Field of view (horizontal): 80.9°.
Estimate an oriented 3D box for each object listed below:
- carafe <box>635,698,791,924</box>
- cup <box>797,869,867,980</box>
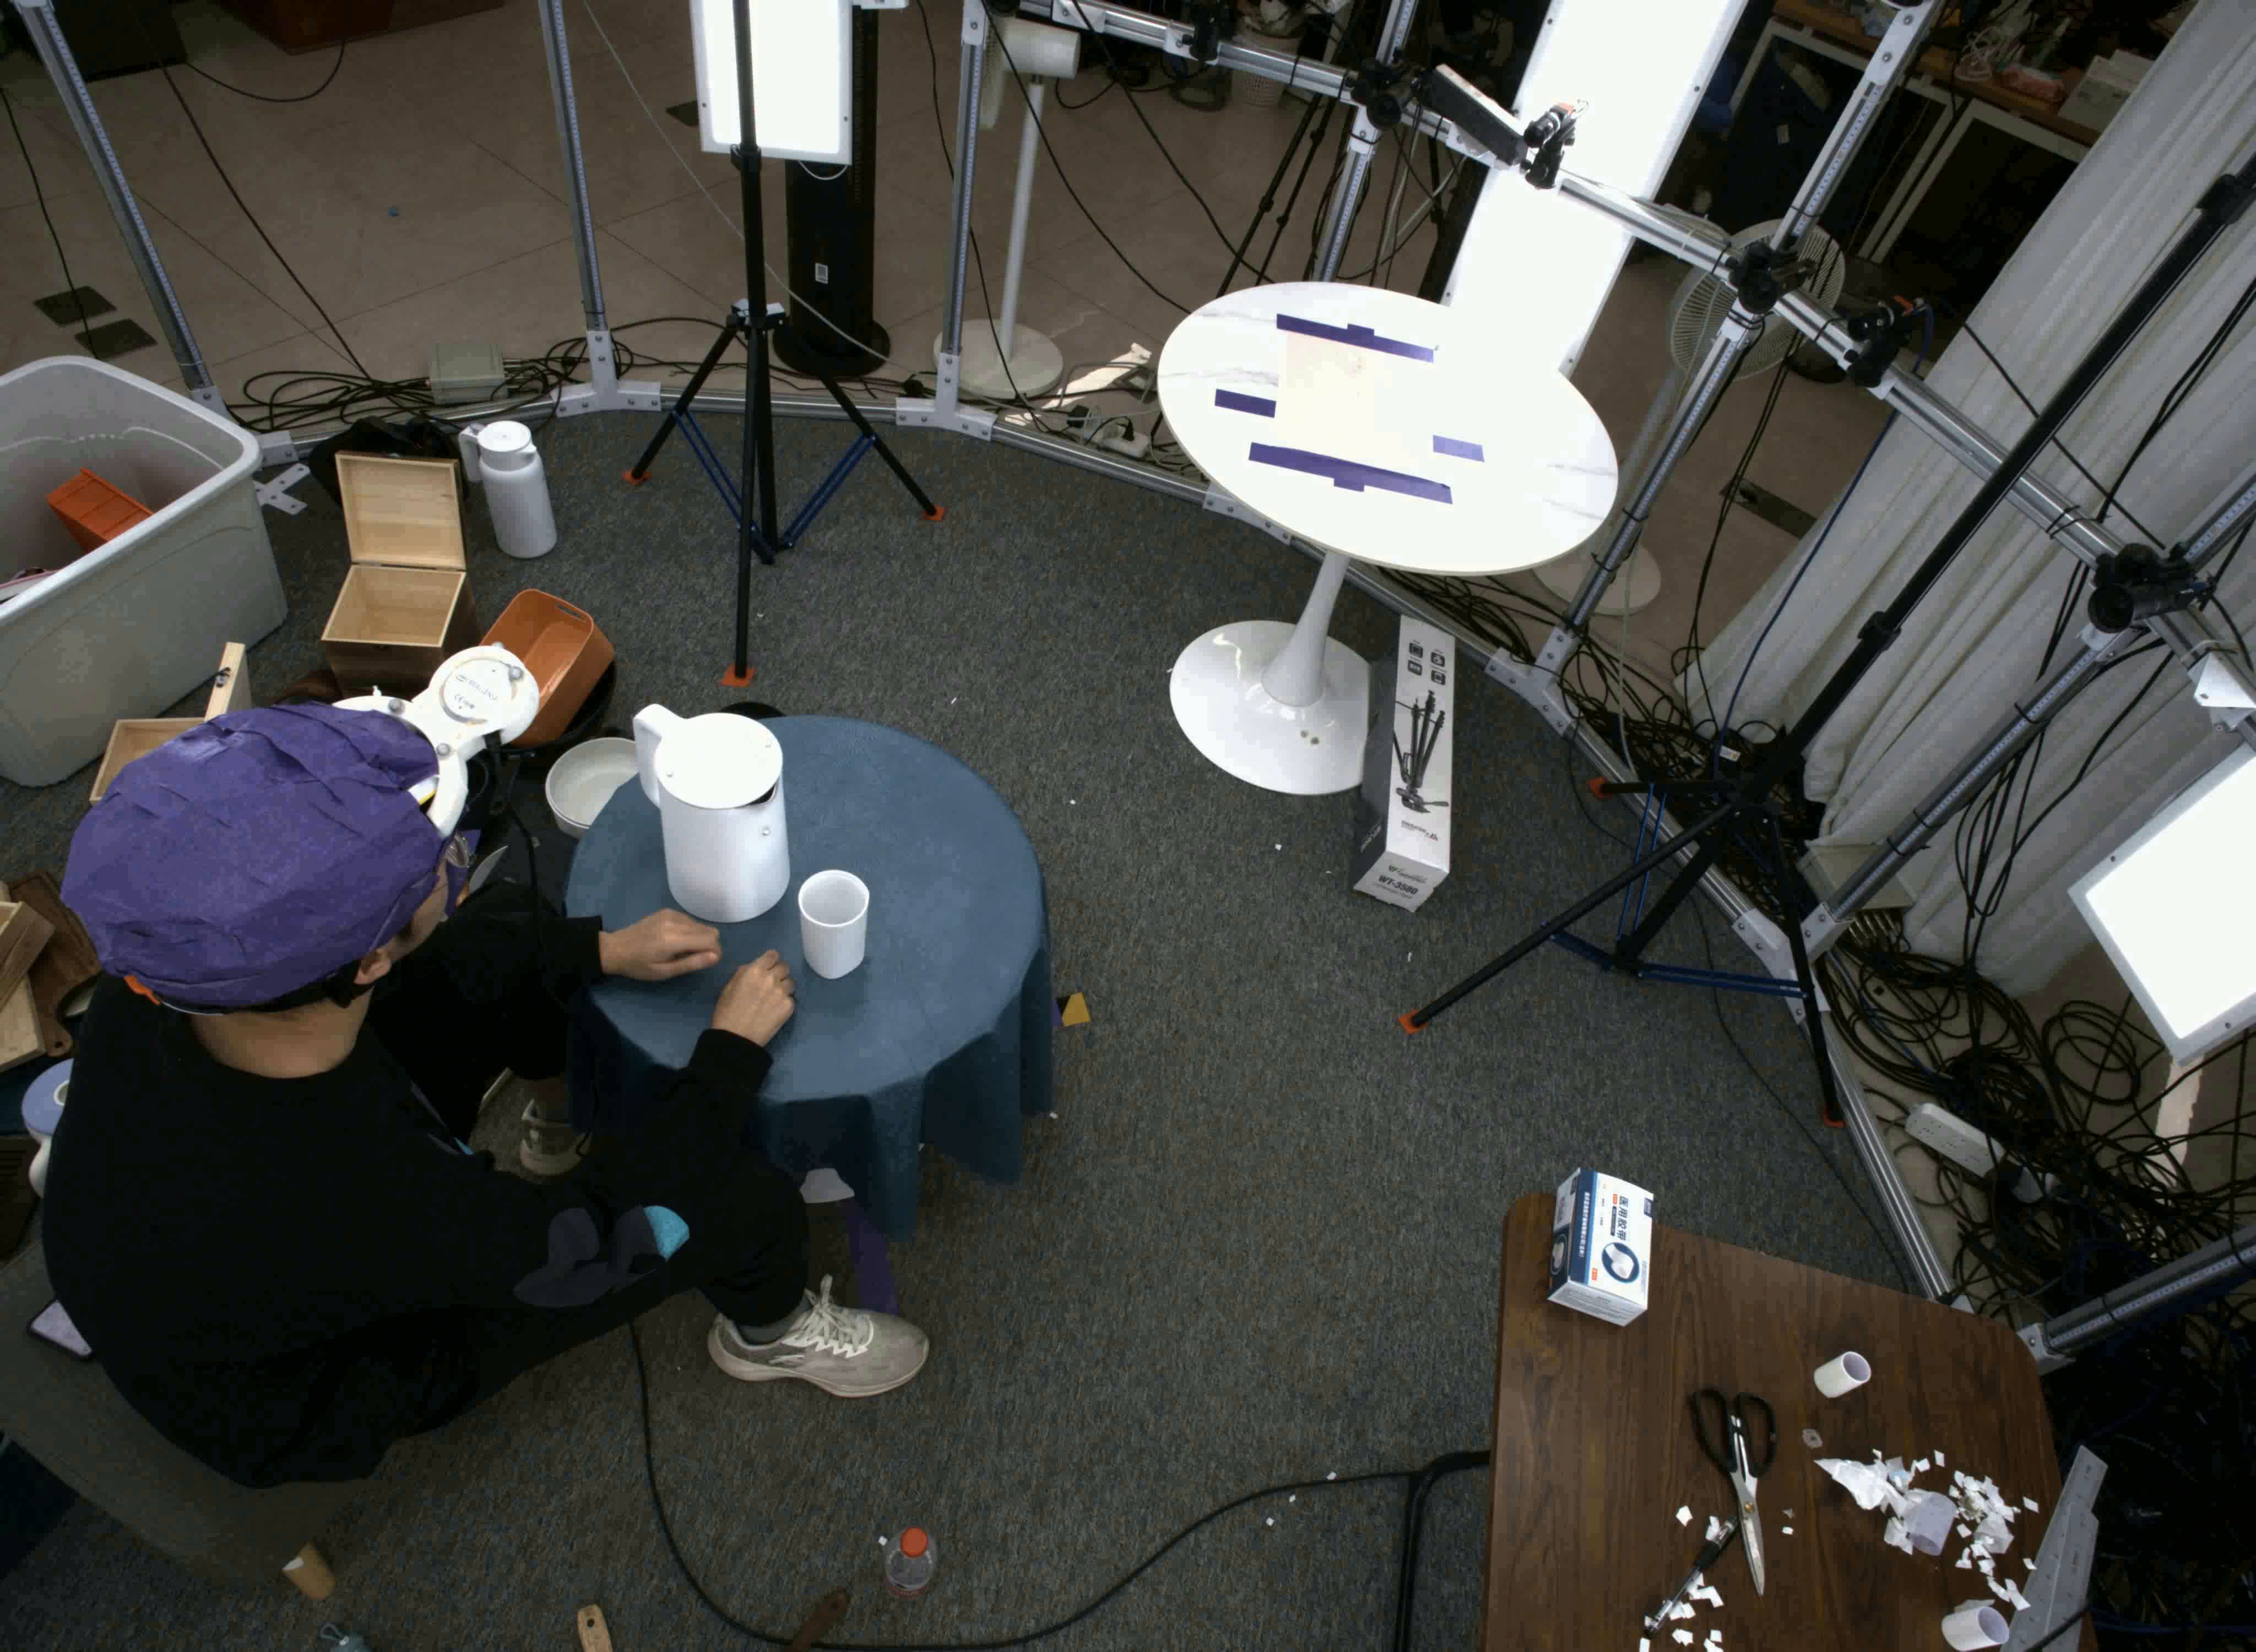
[{"bbox_3d":[-0.512,-0.026,1.576,0.209,0.245,0.152,34,52,12],"label":"carafe"},{"bbox_3d":[-0.358,0.120,1.578,0.081,0.128,0.080,6,52,-7],"label":"cup"}]
